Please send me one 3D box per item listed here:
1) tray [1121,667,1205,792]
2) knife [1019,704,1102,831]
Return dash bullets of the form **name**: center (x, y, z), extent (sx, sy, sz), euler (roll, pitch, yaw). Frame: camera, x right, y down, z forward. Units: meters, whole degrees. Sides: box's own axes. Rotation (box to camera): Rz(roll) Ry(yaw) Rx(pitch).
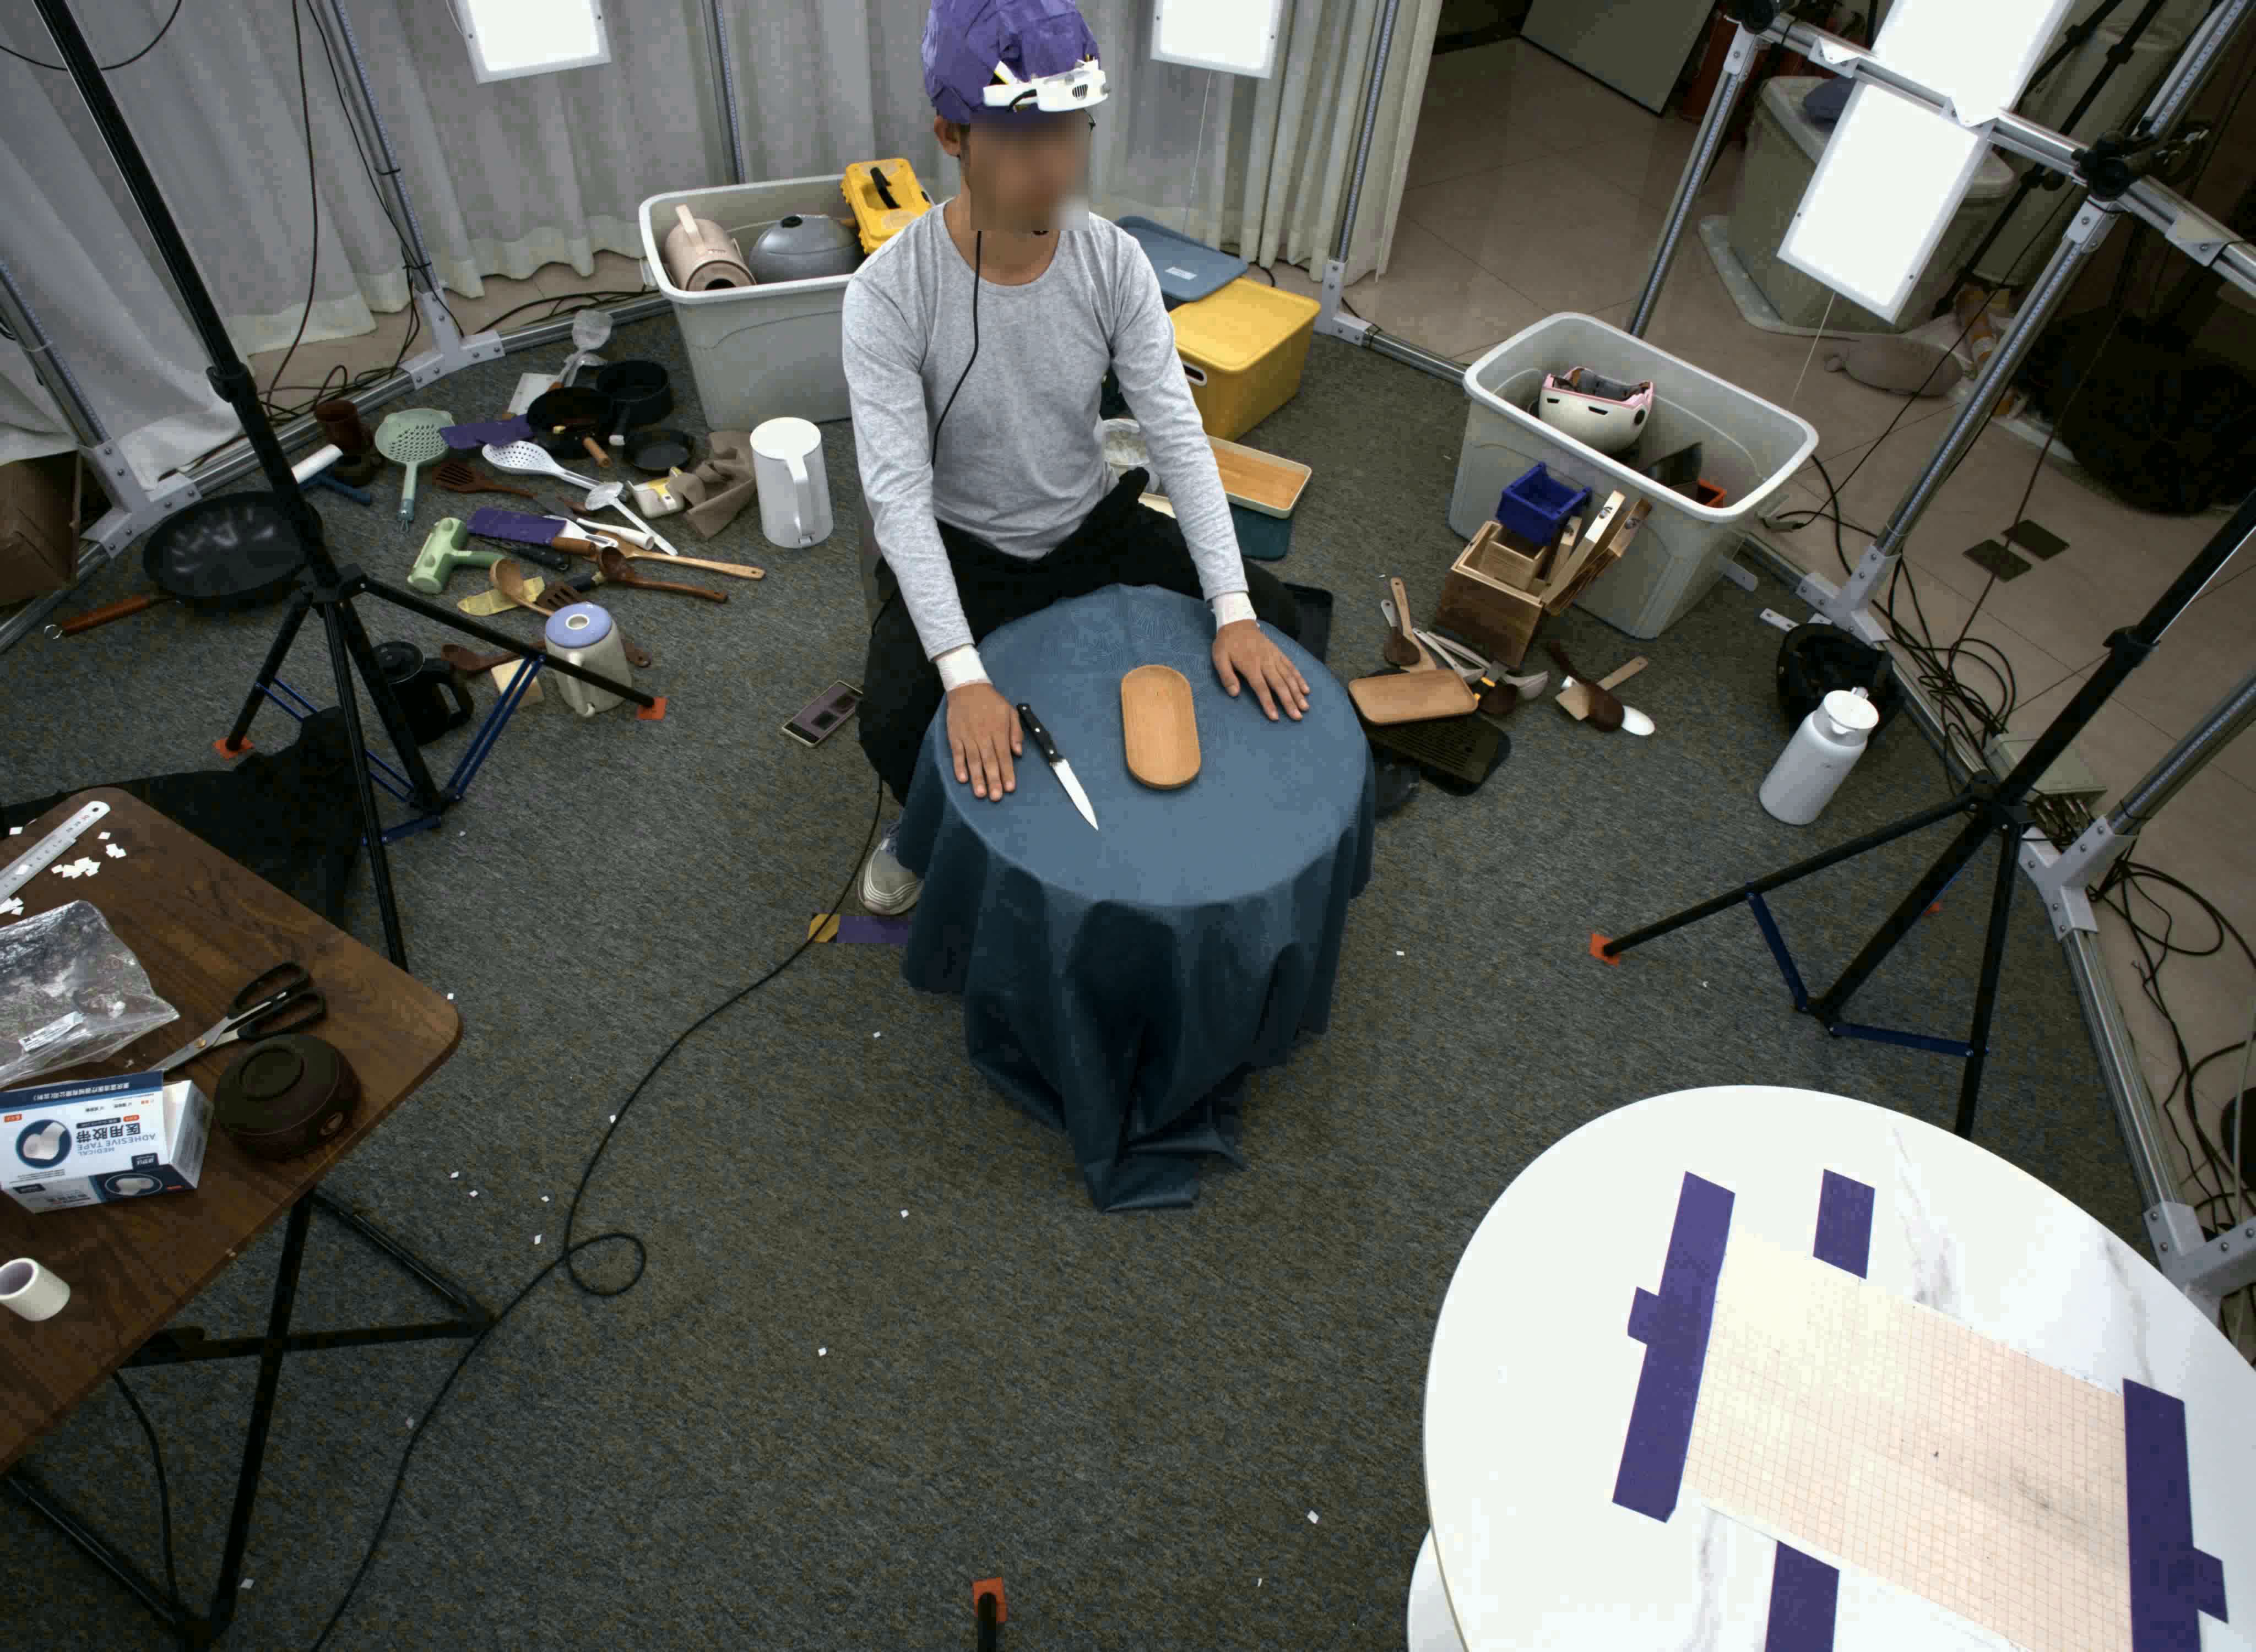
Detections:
- **tray**: center (0.047, -0.136, 1.779), extent (0.101, 0.020, 0.237), euler (-3, 50, -5)
- **knife**: center (-0.092, -0.079, 1.723), extent (0.024, 0.016, 0.243), euler (-18, 55, -21)
